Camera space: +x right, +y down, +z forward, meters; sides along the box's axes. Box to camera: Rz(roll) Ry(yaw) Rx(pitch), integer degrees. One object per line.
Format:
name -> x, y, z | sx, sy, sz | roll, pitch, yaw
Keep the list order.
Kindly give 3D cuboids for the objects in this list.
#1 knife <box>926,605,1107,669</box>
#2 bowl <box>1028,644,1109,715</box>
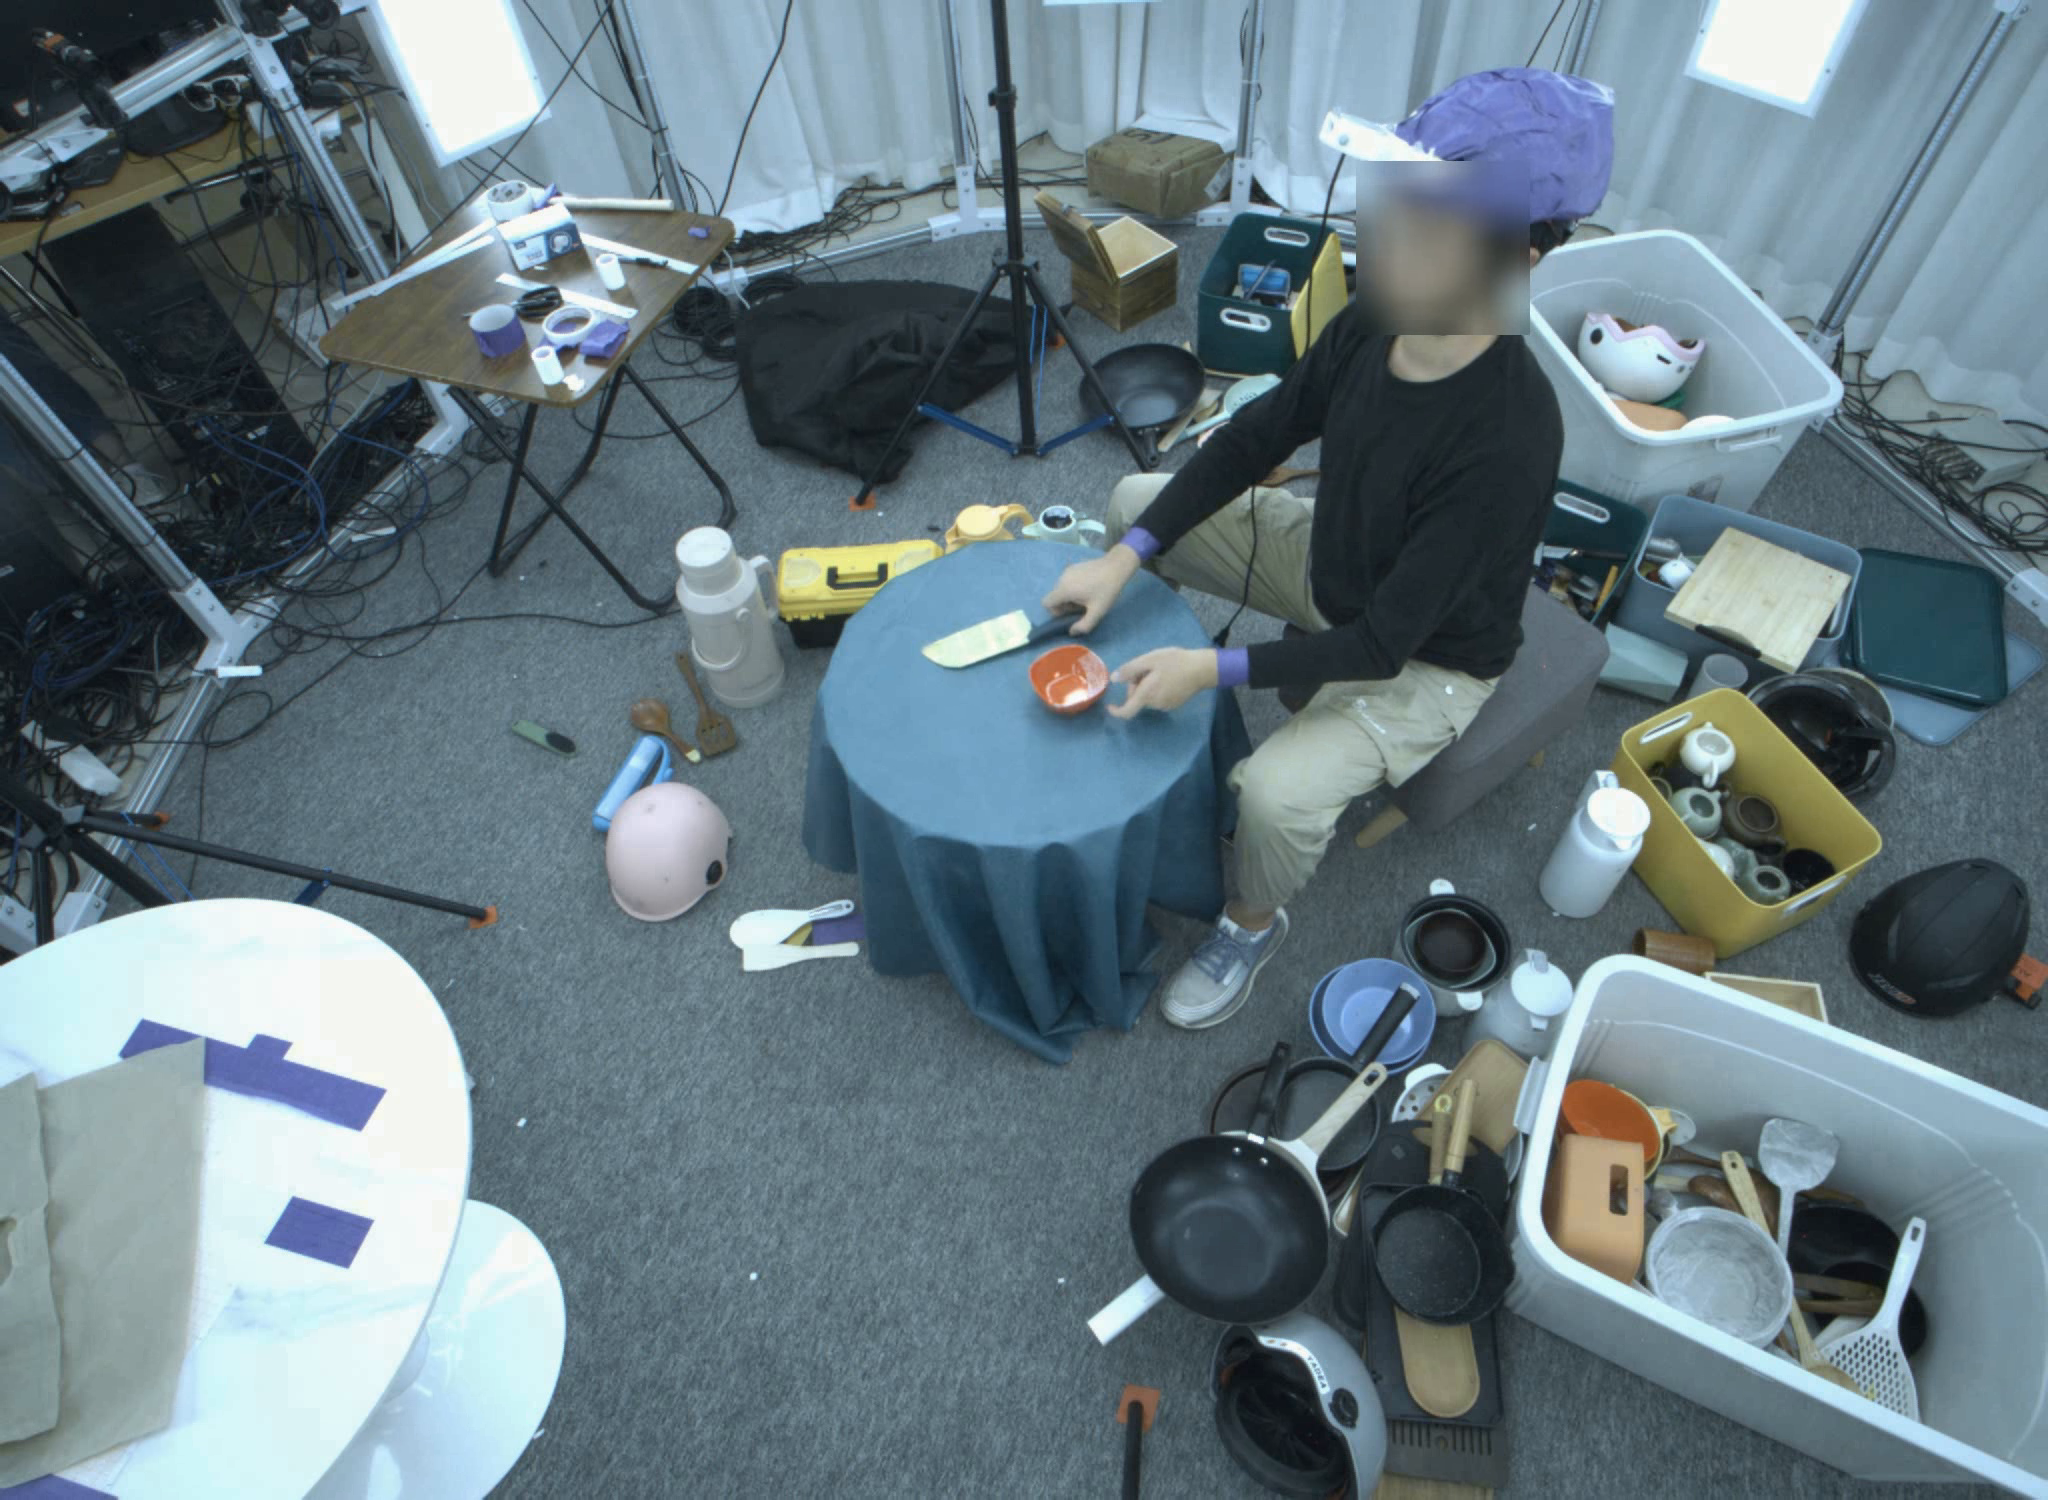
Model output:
knife -> -0.013, -0.184, 1.905 | 0.291, 0.027, 0.079 | -17, 56, -8
bowl -> 0.066, -0.096, 1.818 | 0.119, 0.052, 0.117 | -1, 53, 3
